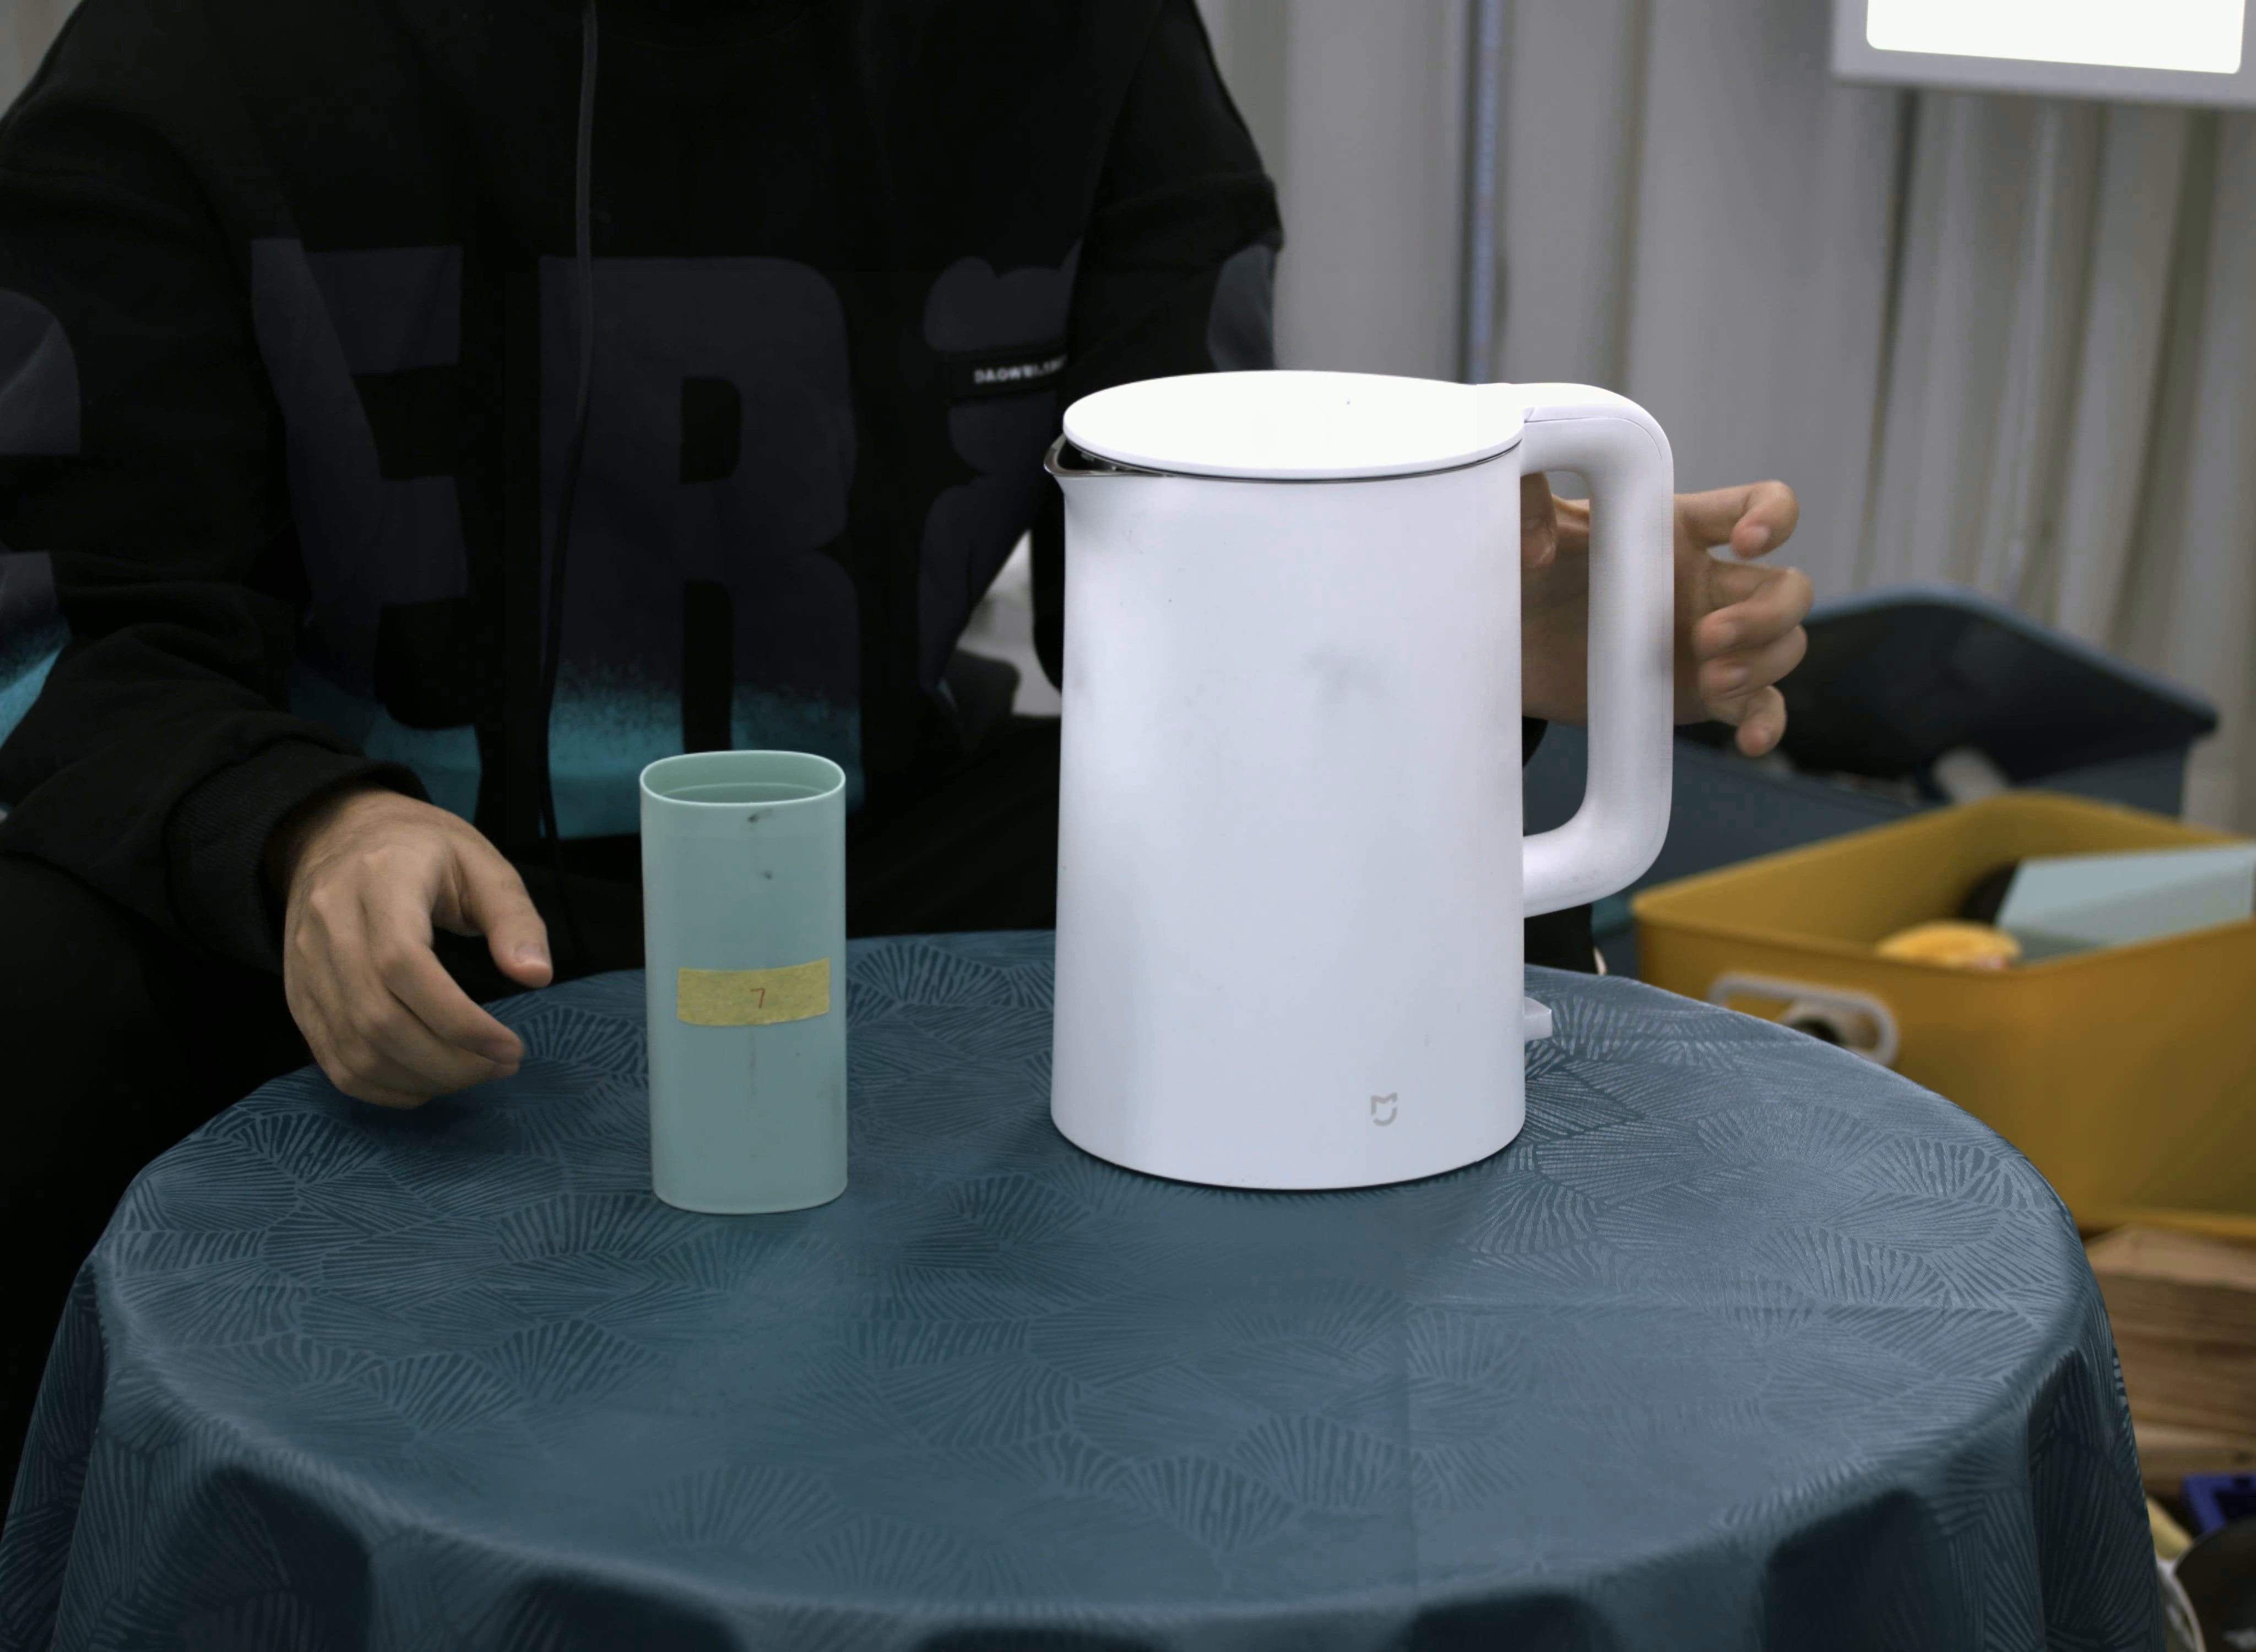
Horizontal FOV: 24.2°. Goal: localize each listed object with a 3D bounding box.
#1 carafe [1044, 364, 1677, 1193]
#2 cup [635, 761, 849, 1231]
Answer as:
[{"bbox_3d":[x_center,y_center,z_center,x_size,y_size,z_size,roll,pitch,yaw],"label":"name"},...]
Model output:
[{"bbox_3d":[0.075,-0.020,1.665,0.214,0.242,0.150,-8,19,-23],"label":"carafe"},{"bbox_3d":[-0.117,0.050,1.606,0.066,0.133,0.066,0,17,1],"label":"cup"}]
